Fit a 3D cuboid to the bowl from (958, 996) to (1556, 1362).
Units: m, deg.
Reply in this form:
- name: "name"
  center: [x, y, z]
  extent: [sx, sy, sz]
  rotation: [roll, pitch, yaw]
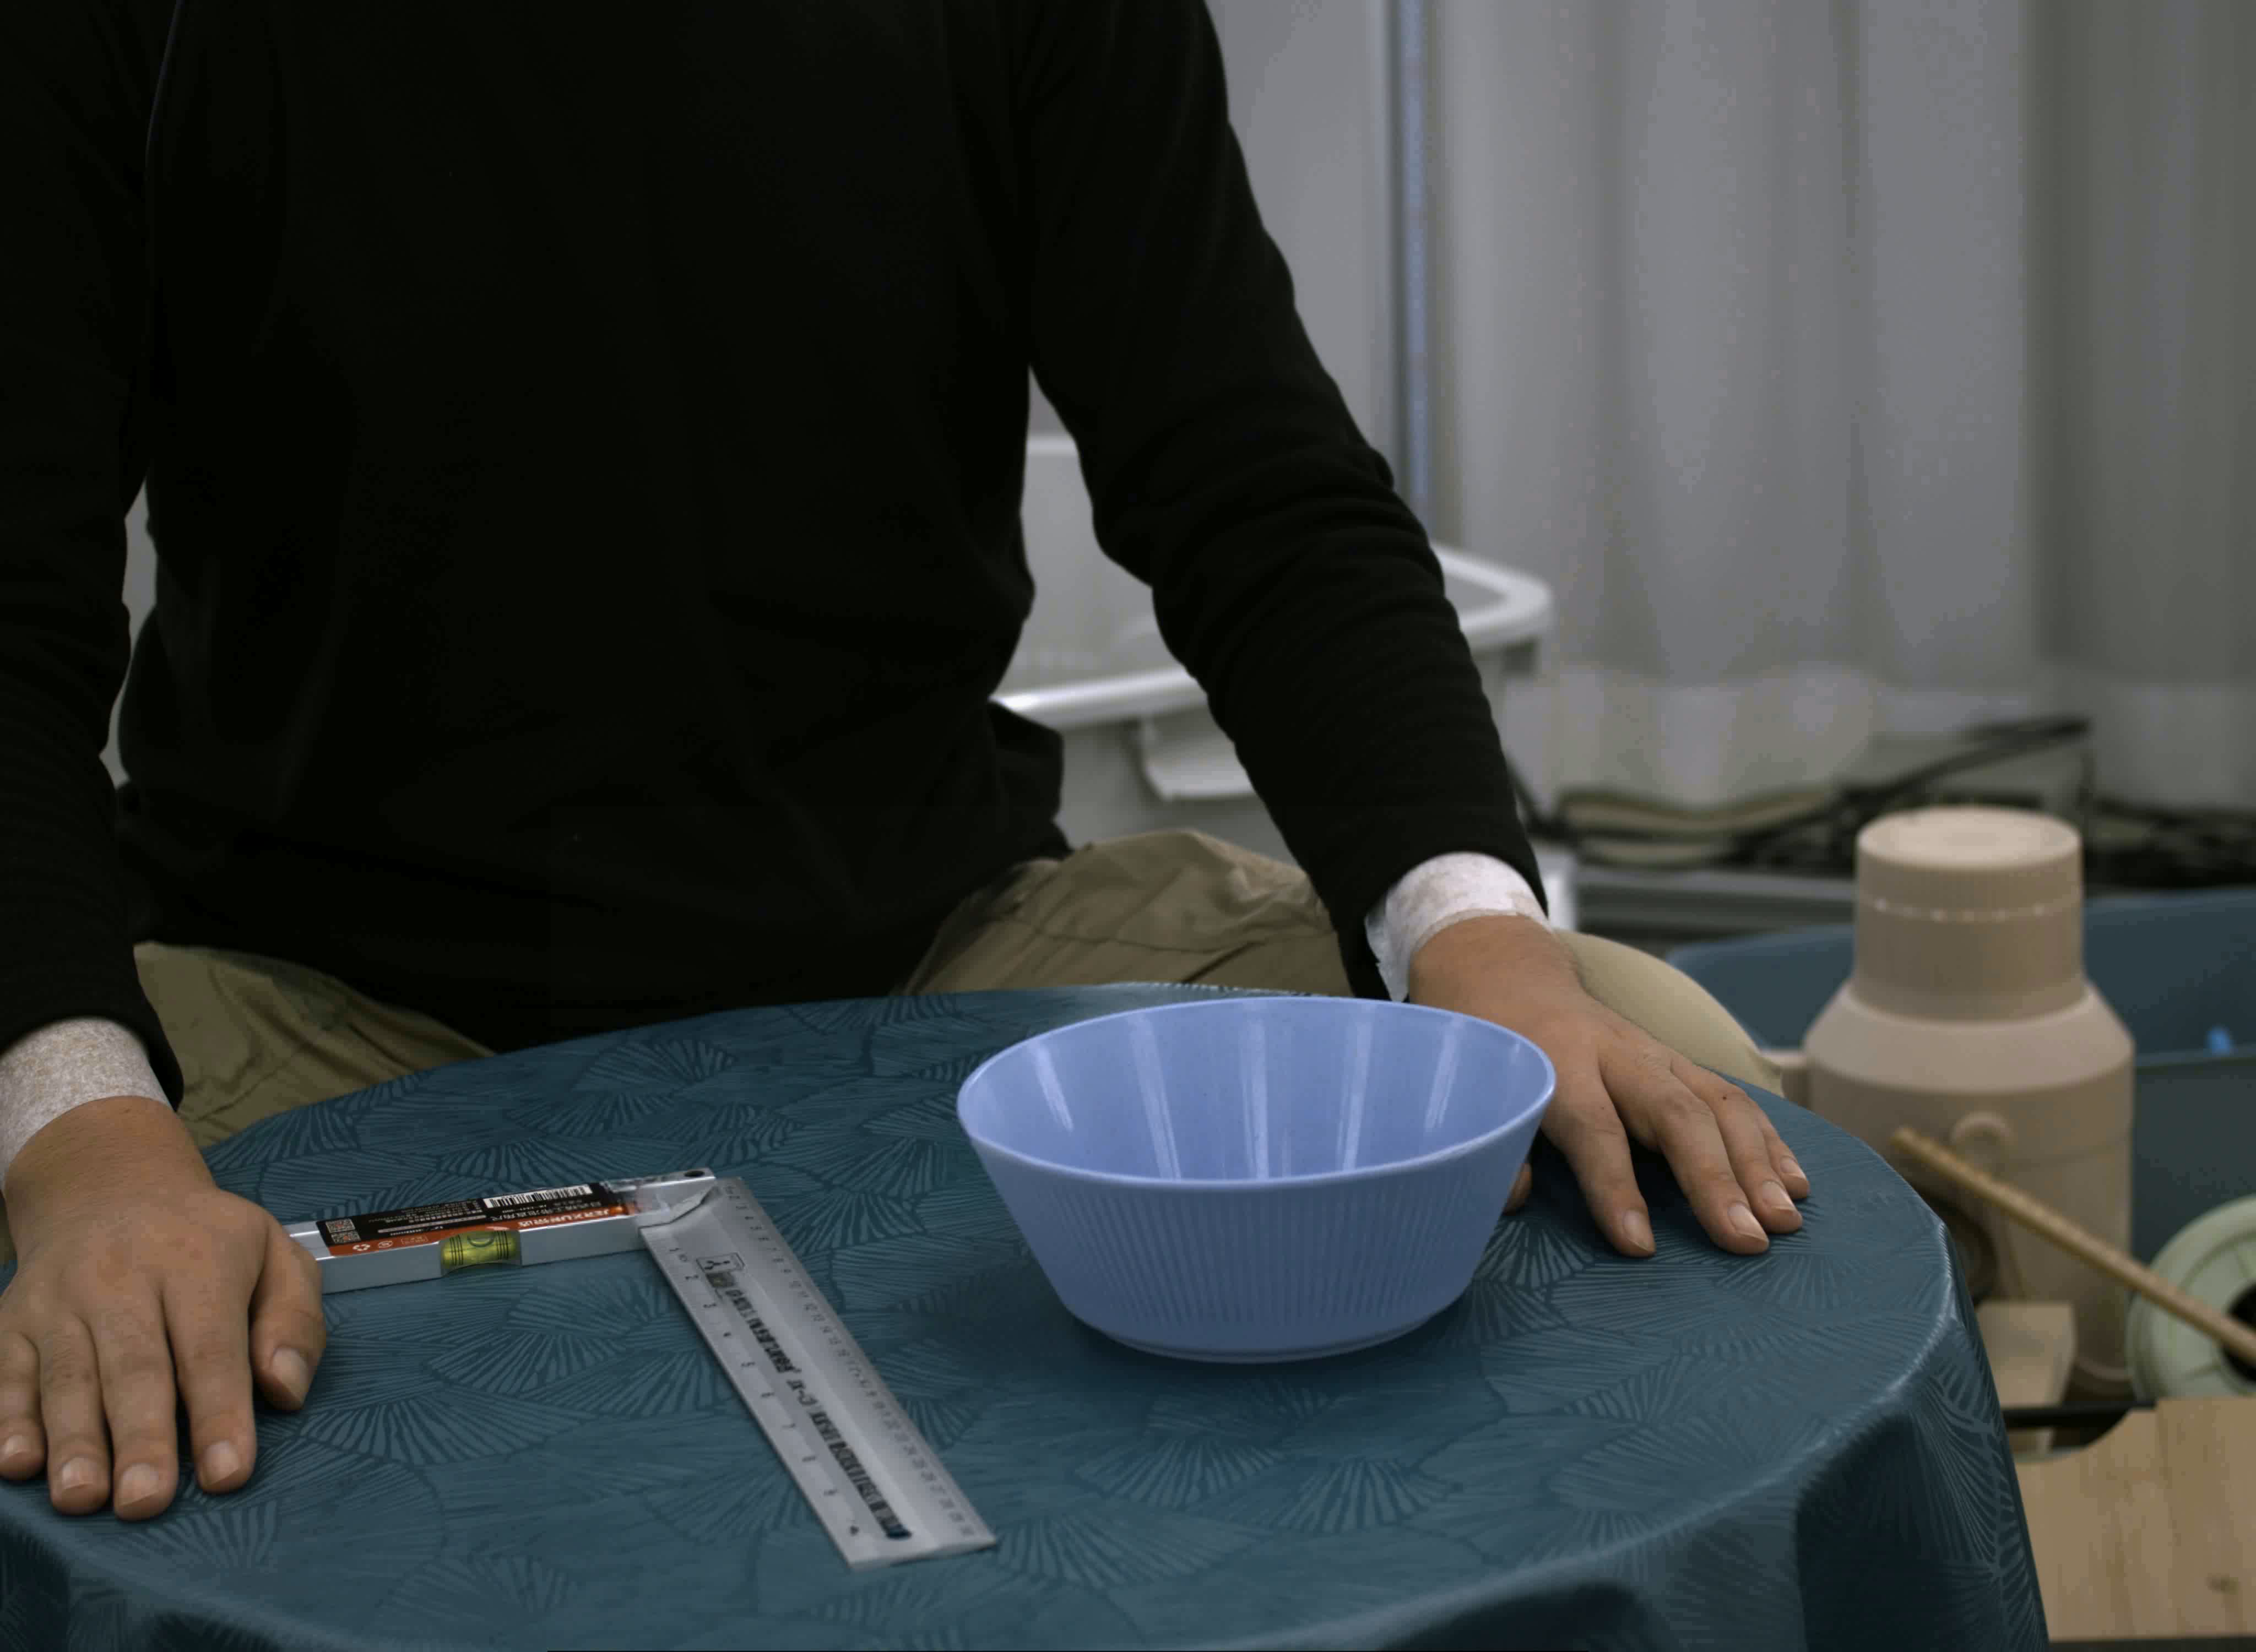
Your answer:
- name: "bowl"
  center: [0.039, 0.106, 1.604]
  extent: [0.175, 0.070, 0.177]
  rotation: [-3, 15, 1]

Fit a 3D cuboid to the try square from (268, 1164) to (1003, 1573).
- name: "try square"
  center: [-0.149, 0.161, 1.563]
  extent: [0.151, 0.016, 0.315]
  rotation: [-10, 17, -14]
